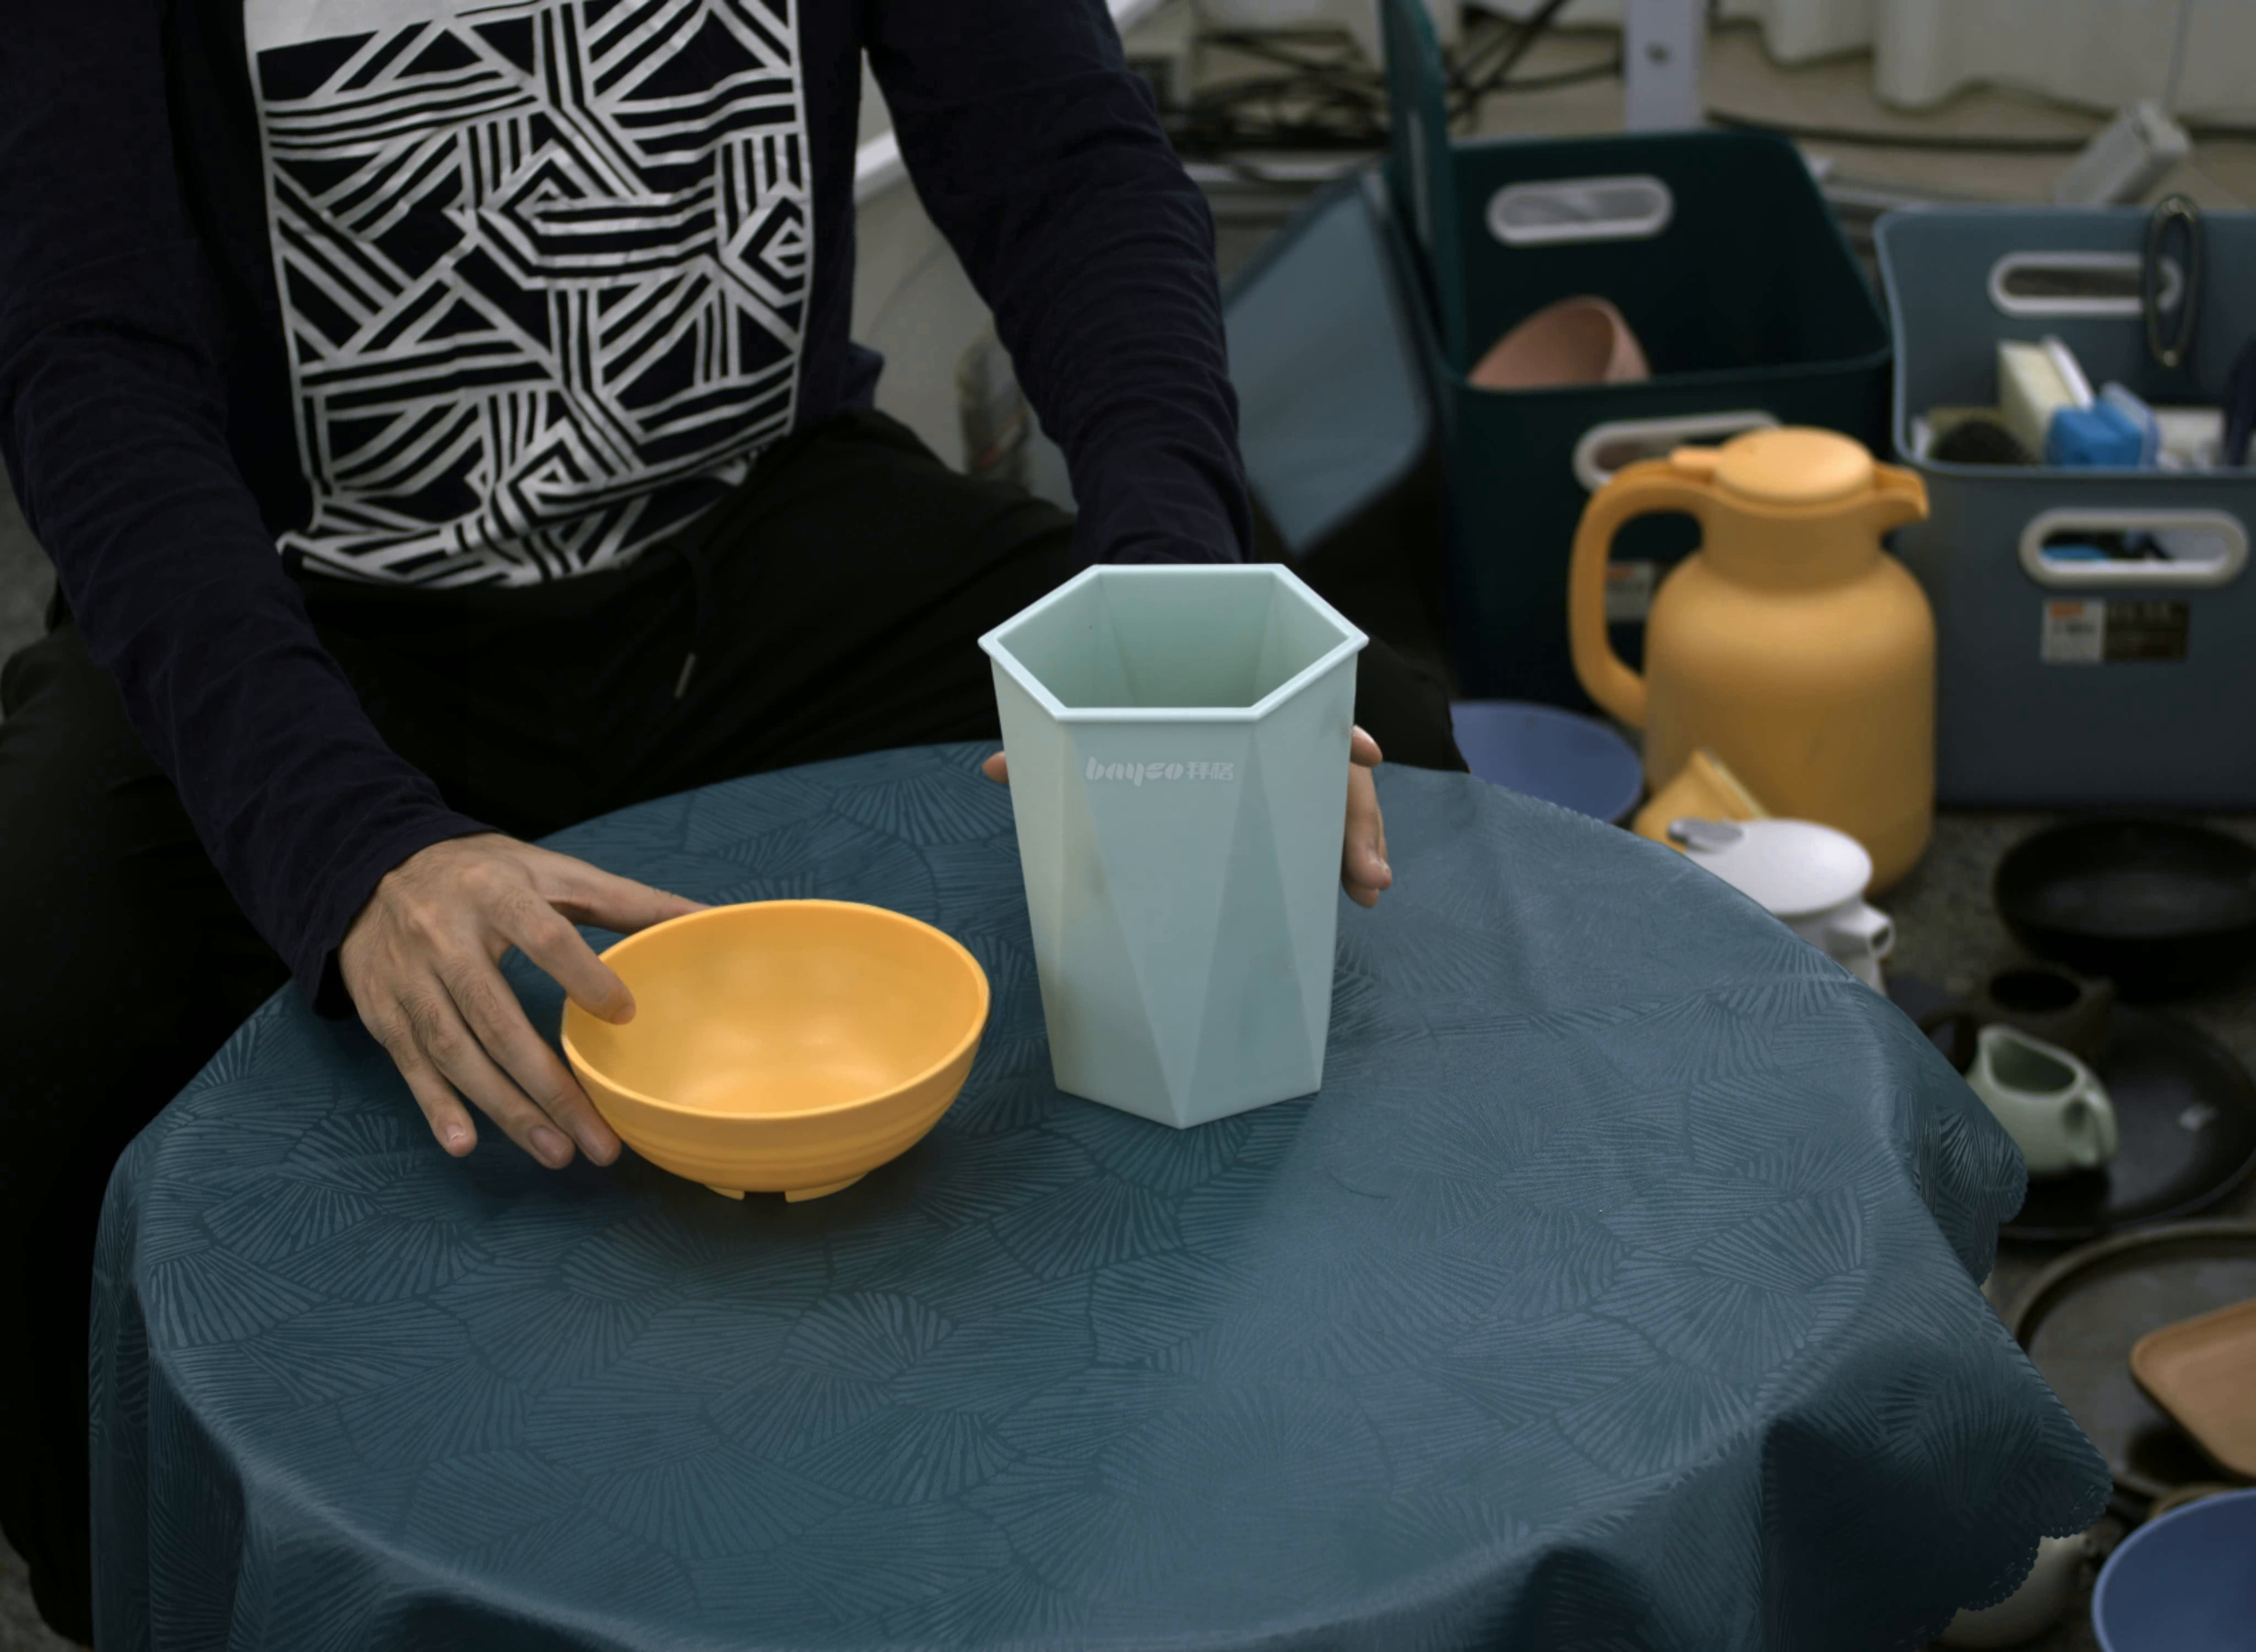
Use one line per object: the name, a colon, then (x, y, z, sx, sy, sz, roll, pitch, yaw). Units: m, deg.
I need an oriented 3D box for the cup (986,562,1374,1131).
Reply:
cup: (0.019, 0.008, 1.903, 0.130, 0.161, 0.117, 0, 24, 3)

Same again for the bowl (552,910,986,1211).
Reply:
bowl: (-0.119, 0.087, 1.879, 0.144, 0.059, 0.147, 0, 26, 0)
